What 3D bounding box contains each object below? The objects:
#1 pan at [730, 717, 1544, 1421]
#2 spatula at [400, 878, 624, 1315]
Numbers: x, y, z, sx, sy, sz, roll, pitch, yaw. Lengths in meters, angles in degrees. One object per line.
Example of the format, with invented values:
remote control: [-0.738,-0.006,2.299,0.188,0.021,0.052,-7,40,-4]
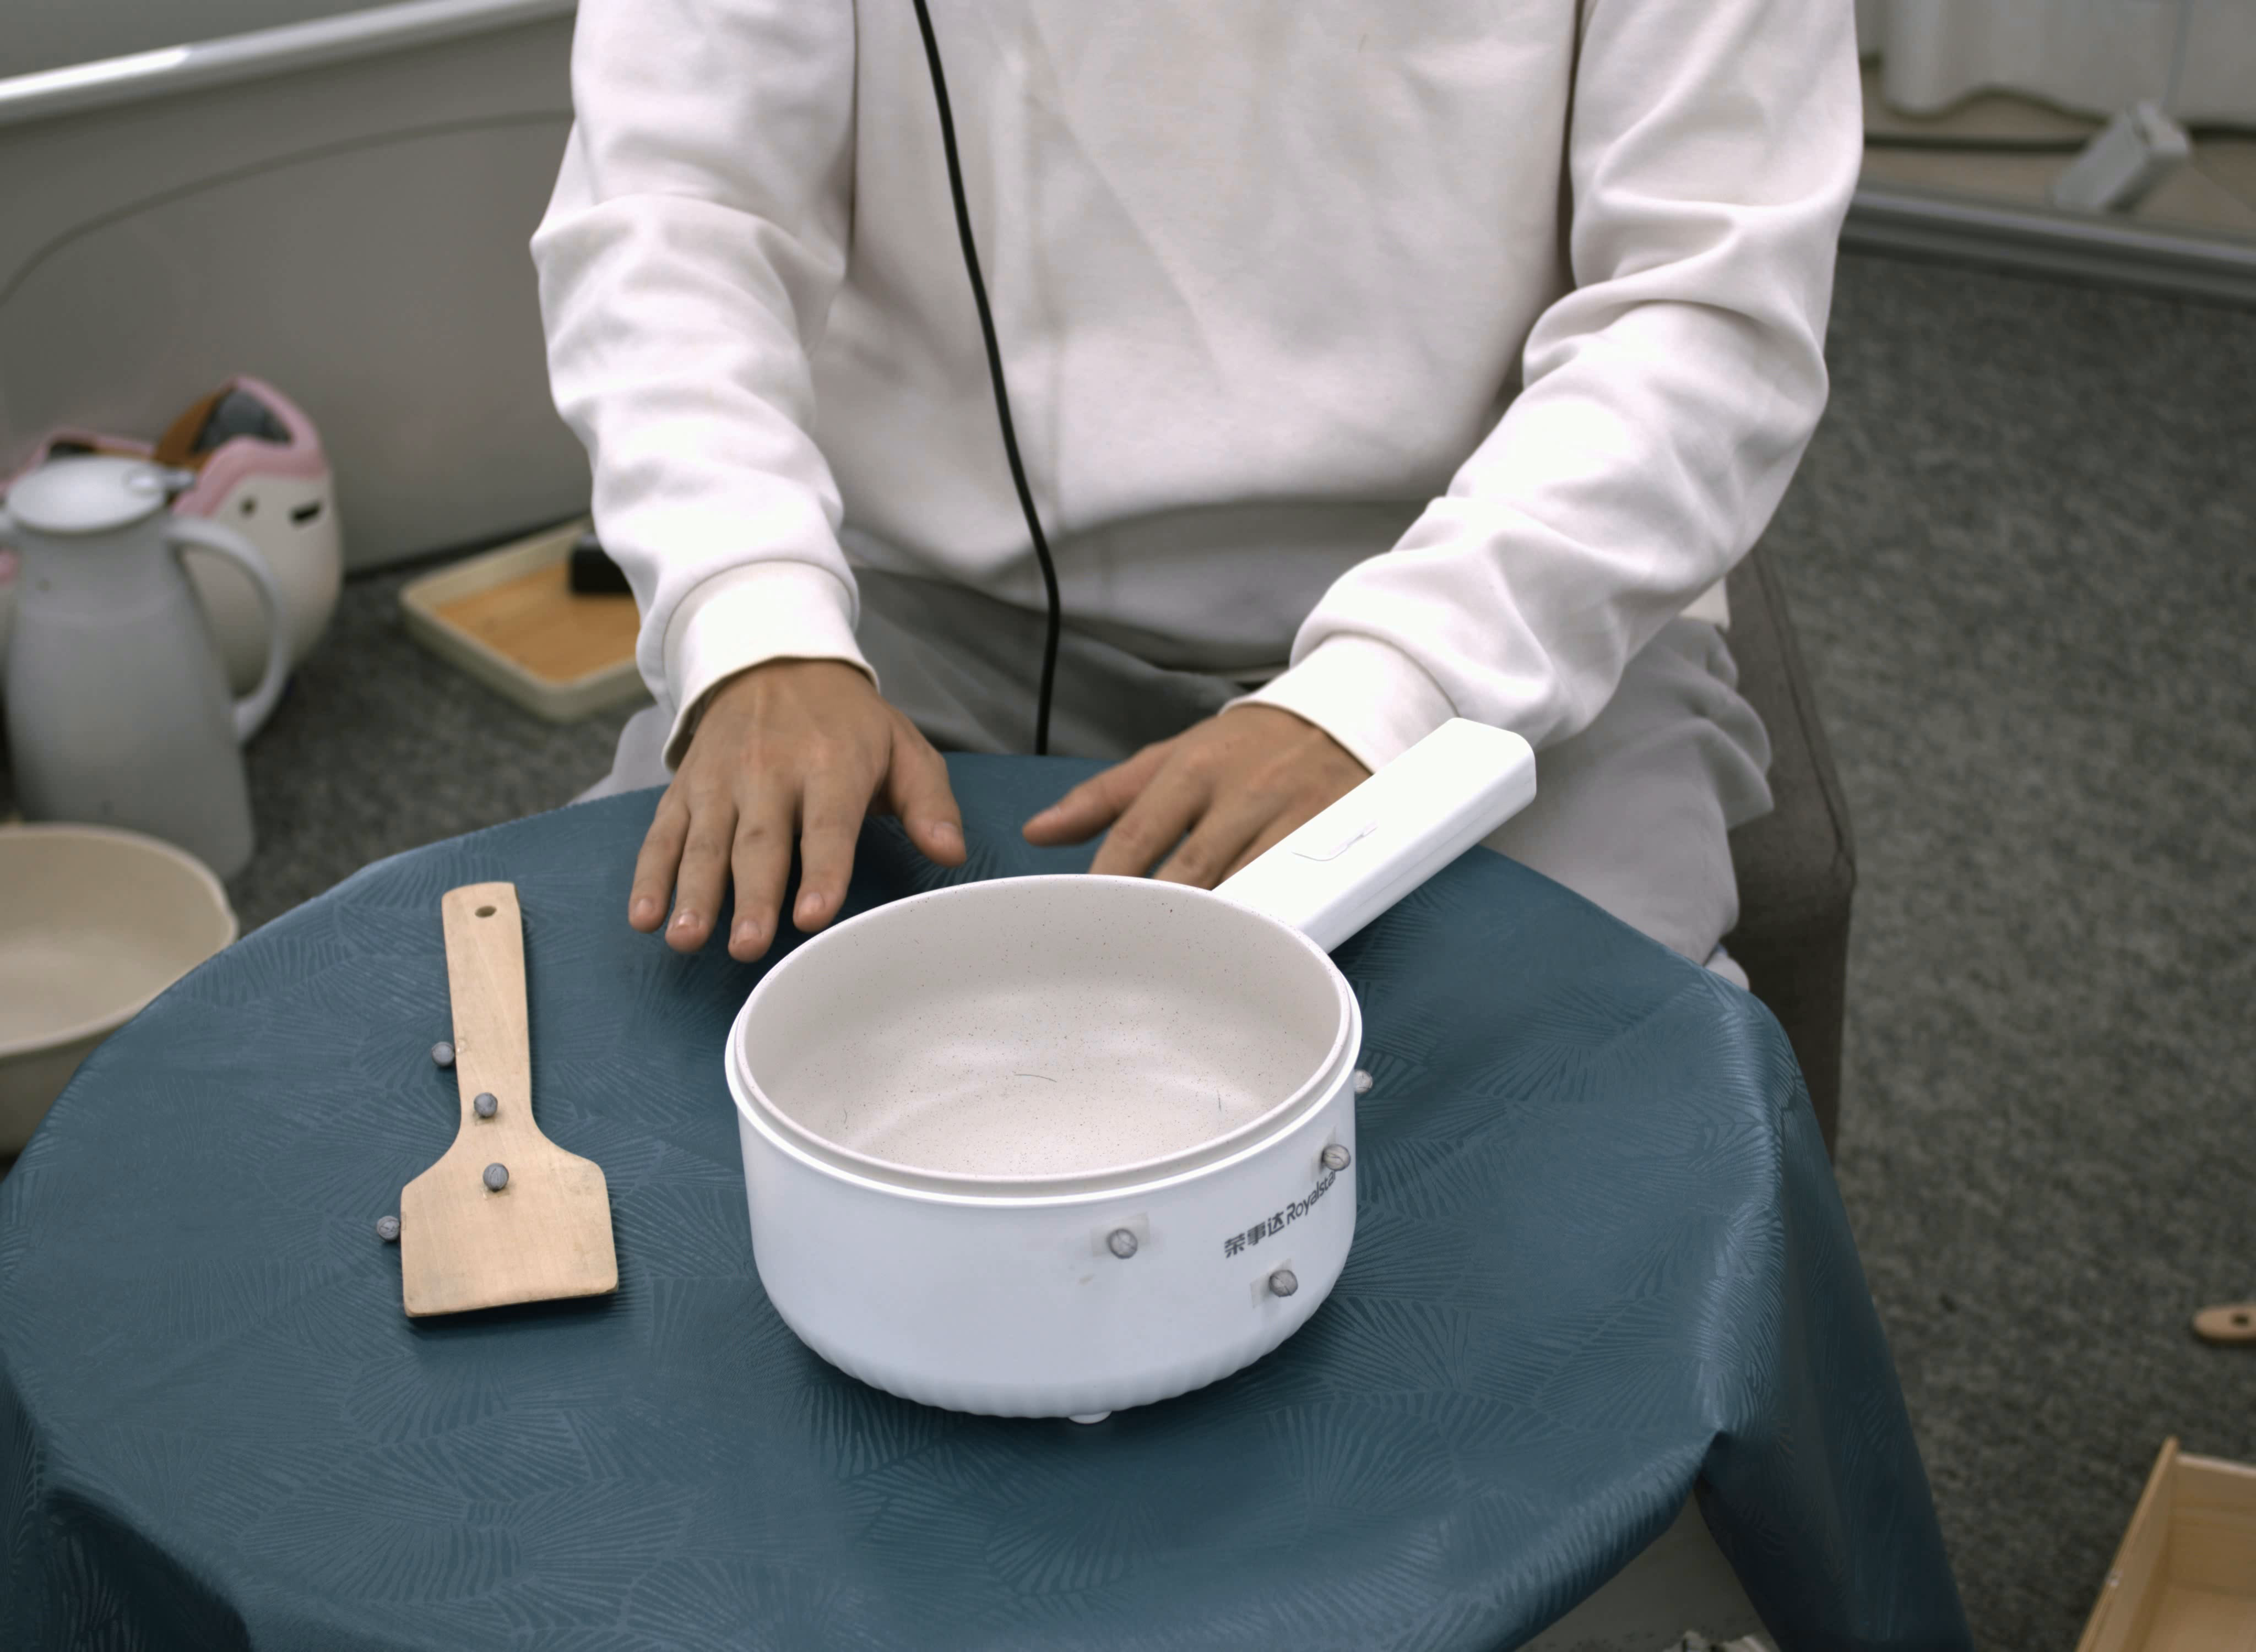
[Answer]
pan: [0.022,0.075,1.844,0.200,0.101,0.360,16,32,33]
spatula: [-0.218,0.089,1.937,0.072,0.010,0.297,-7,28,-6]
